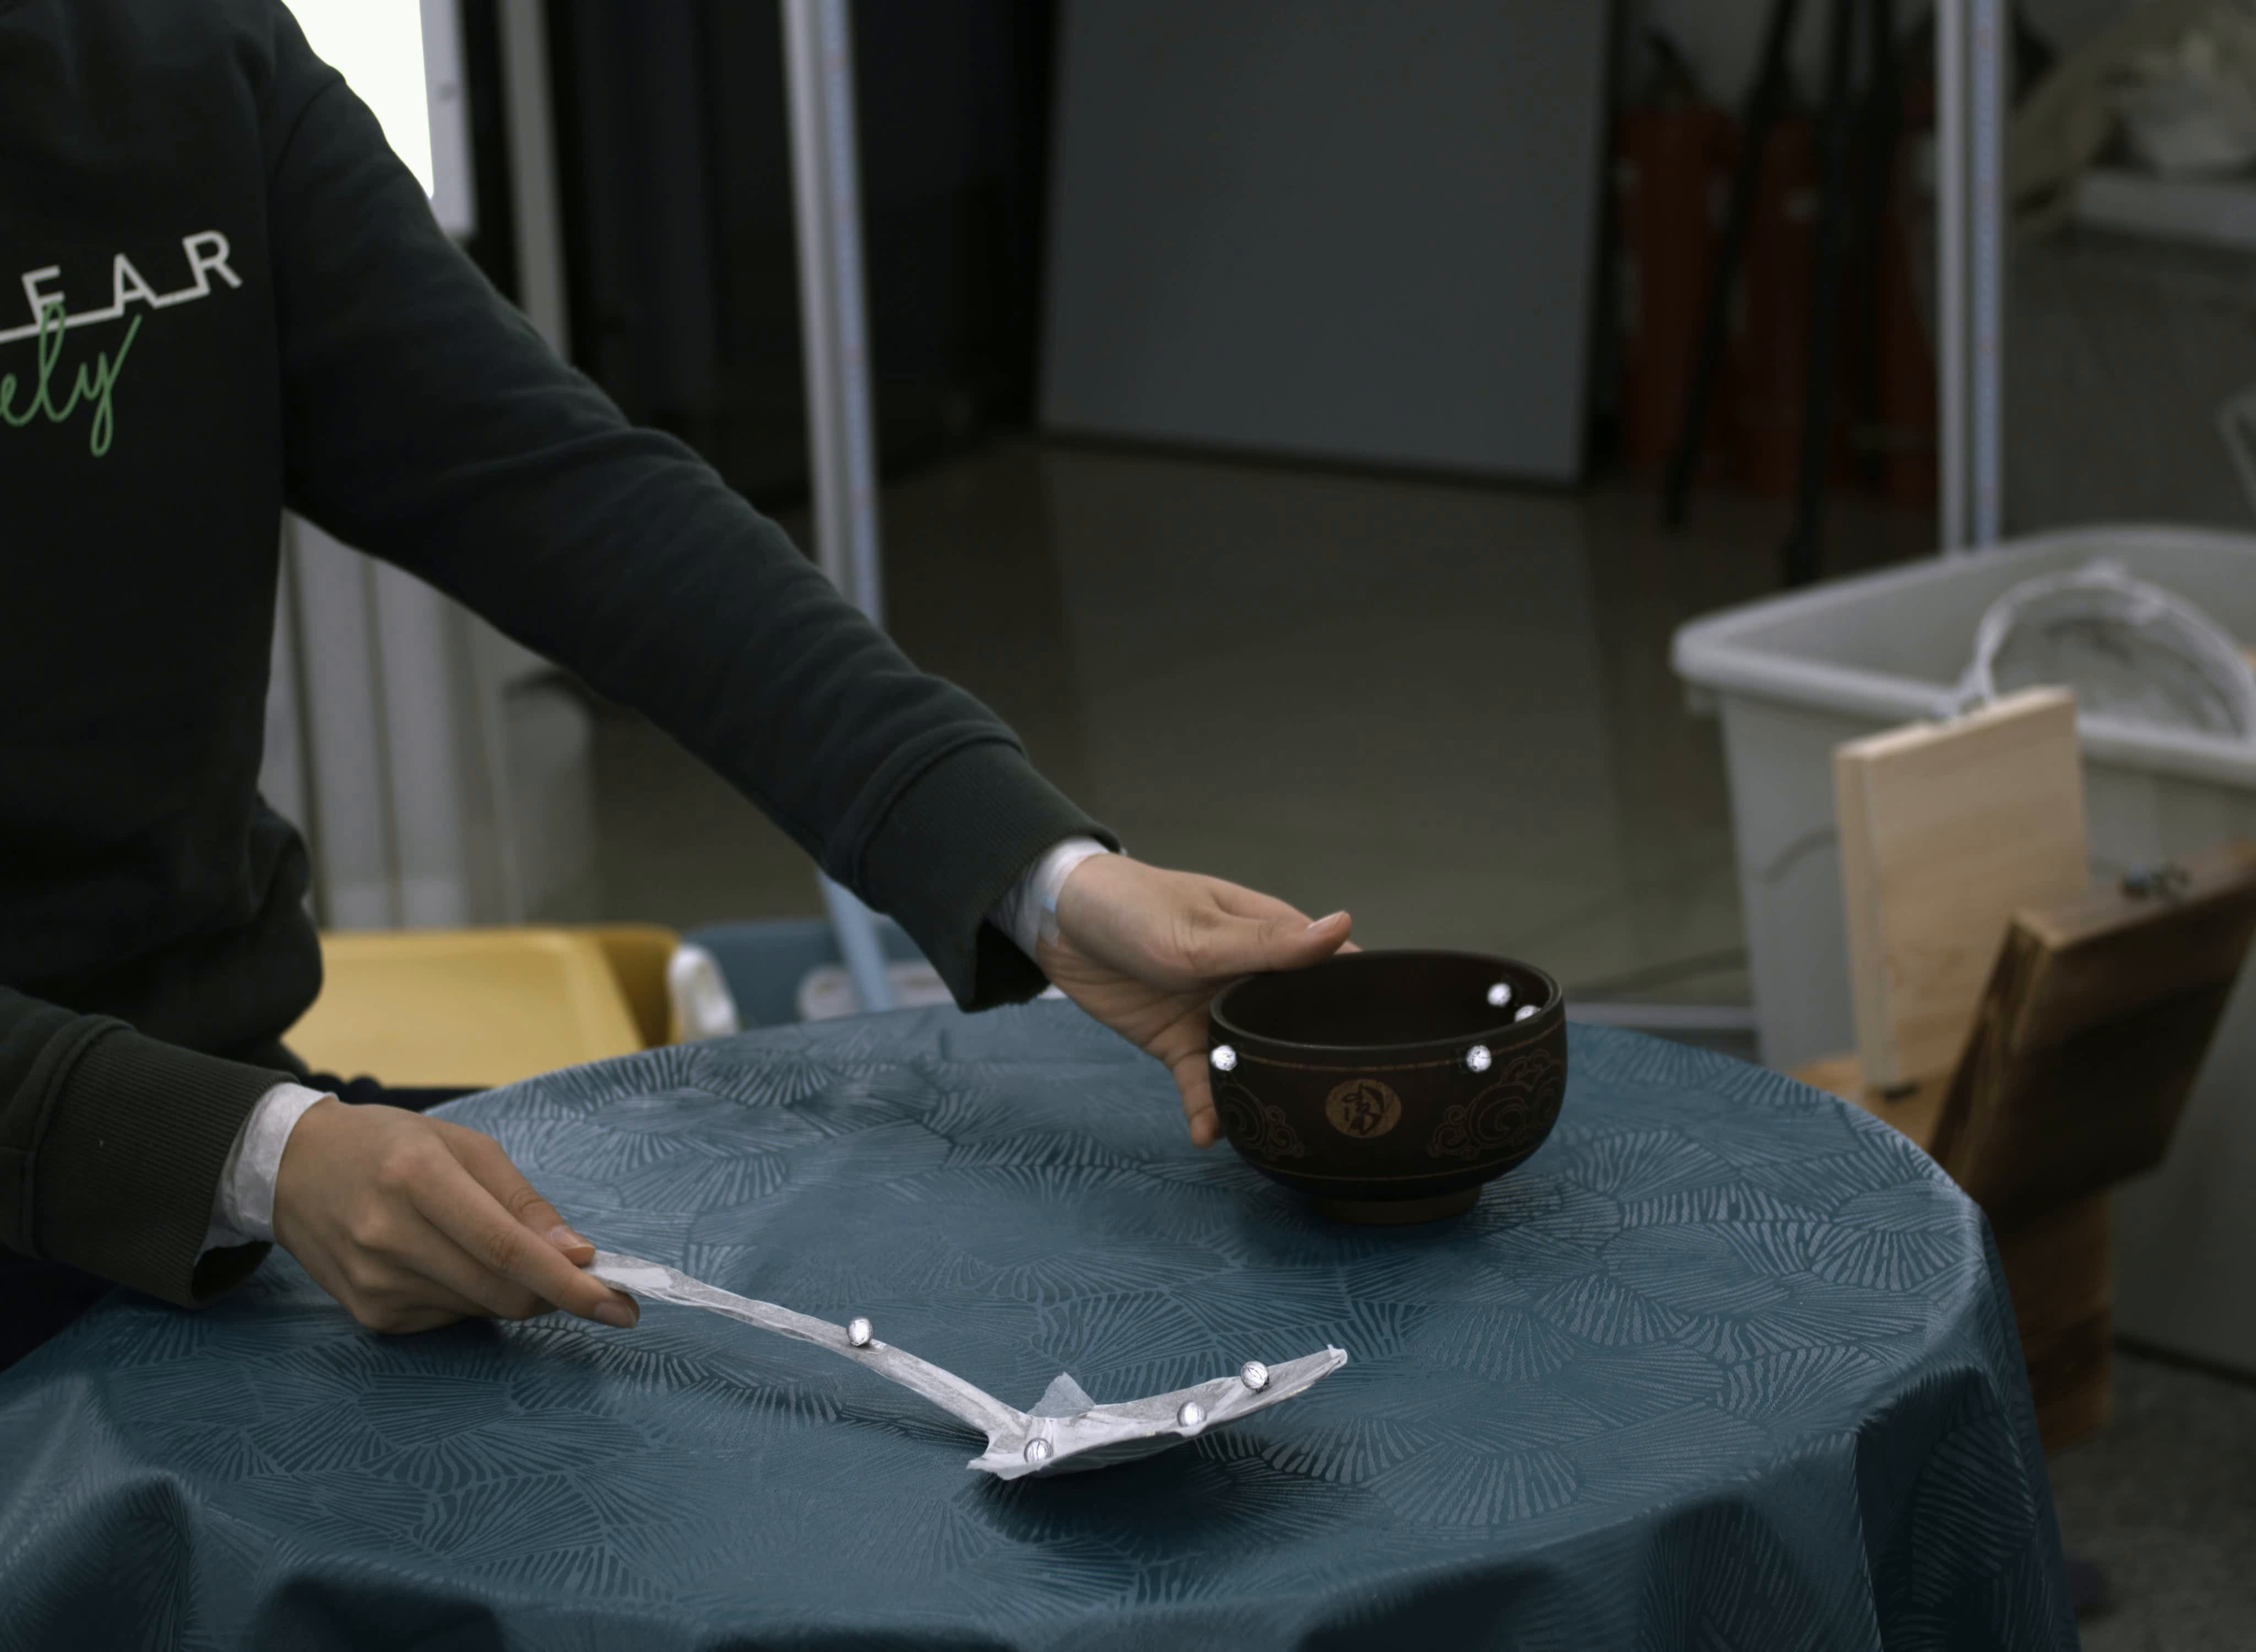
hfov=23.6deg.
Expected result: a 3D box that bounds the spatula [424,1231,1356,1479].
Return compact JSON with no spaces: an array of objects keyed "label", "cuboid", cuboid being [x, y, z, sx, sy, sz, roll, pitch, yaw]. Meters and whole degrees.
[{"label":"spatula","cuboid":[-0.092,0.145,1.599,0.368,0.045,0.097,12,21,40]}]

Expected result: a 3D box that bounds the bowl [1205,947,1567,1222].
[{"label":"bowl","cuboid":[0.084,0.086,1.736,0.116,0.070,0.118,-4,12,0]}]
